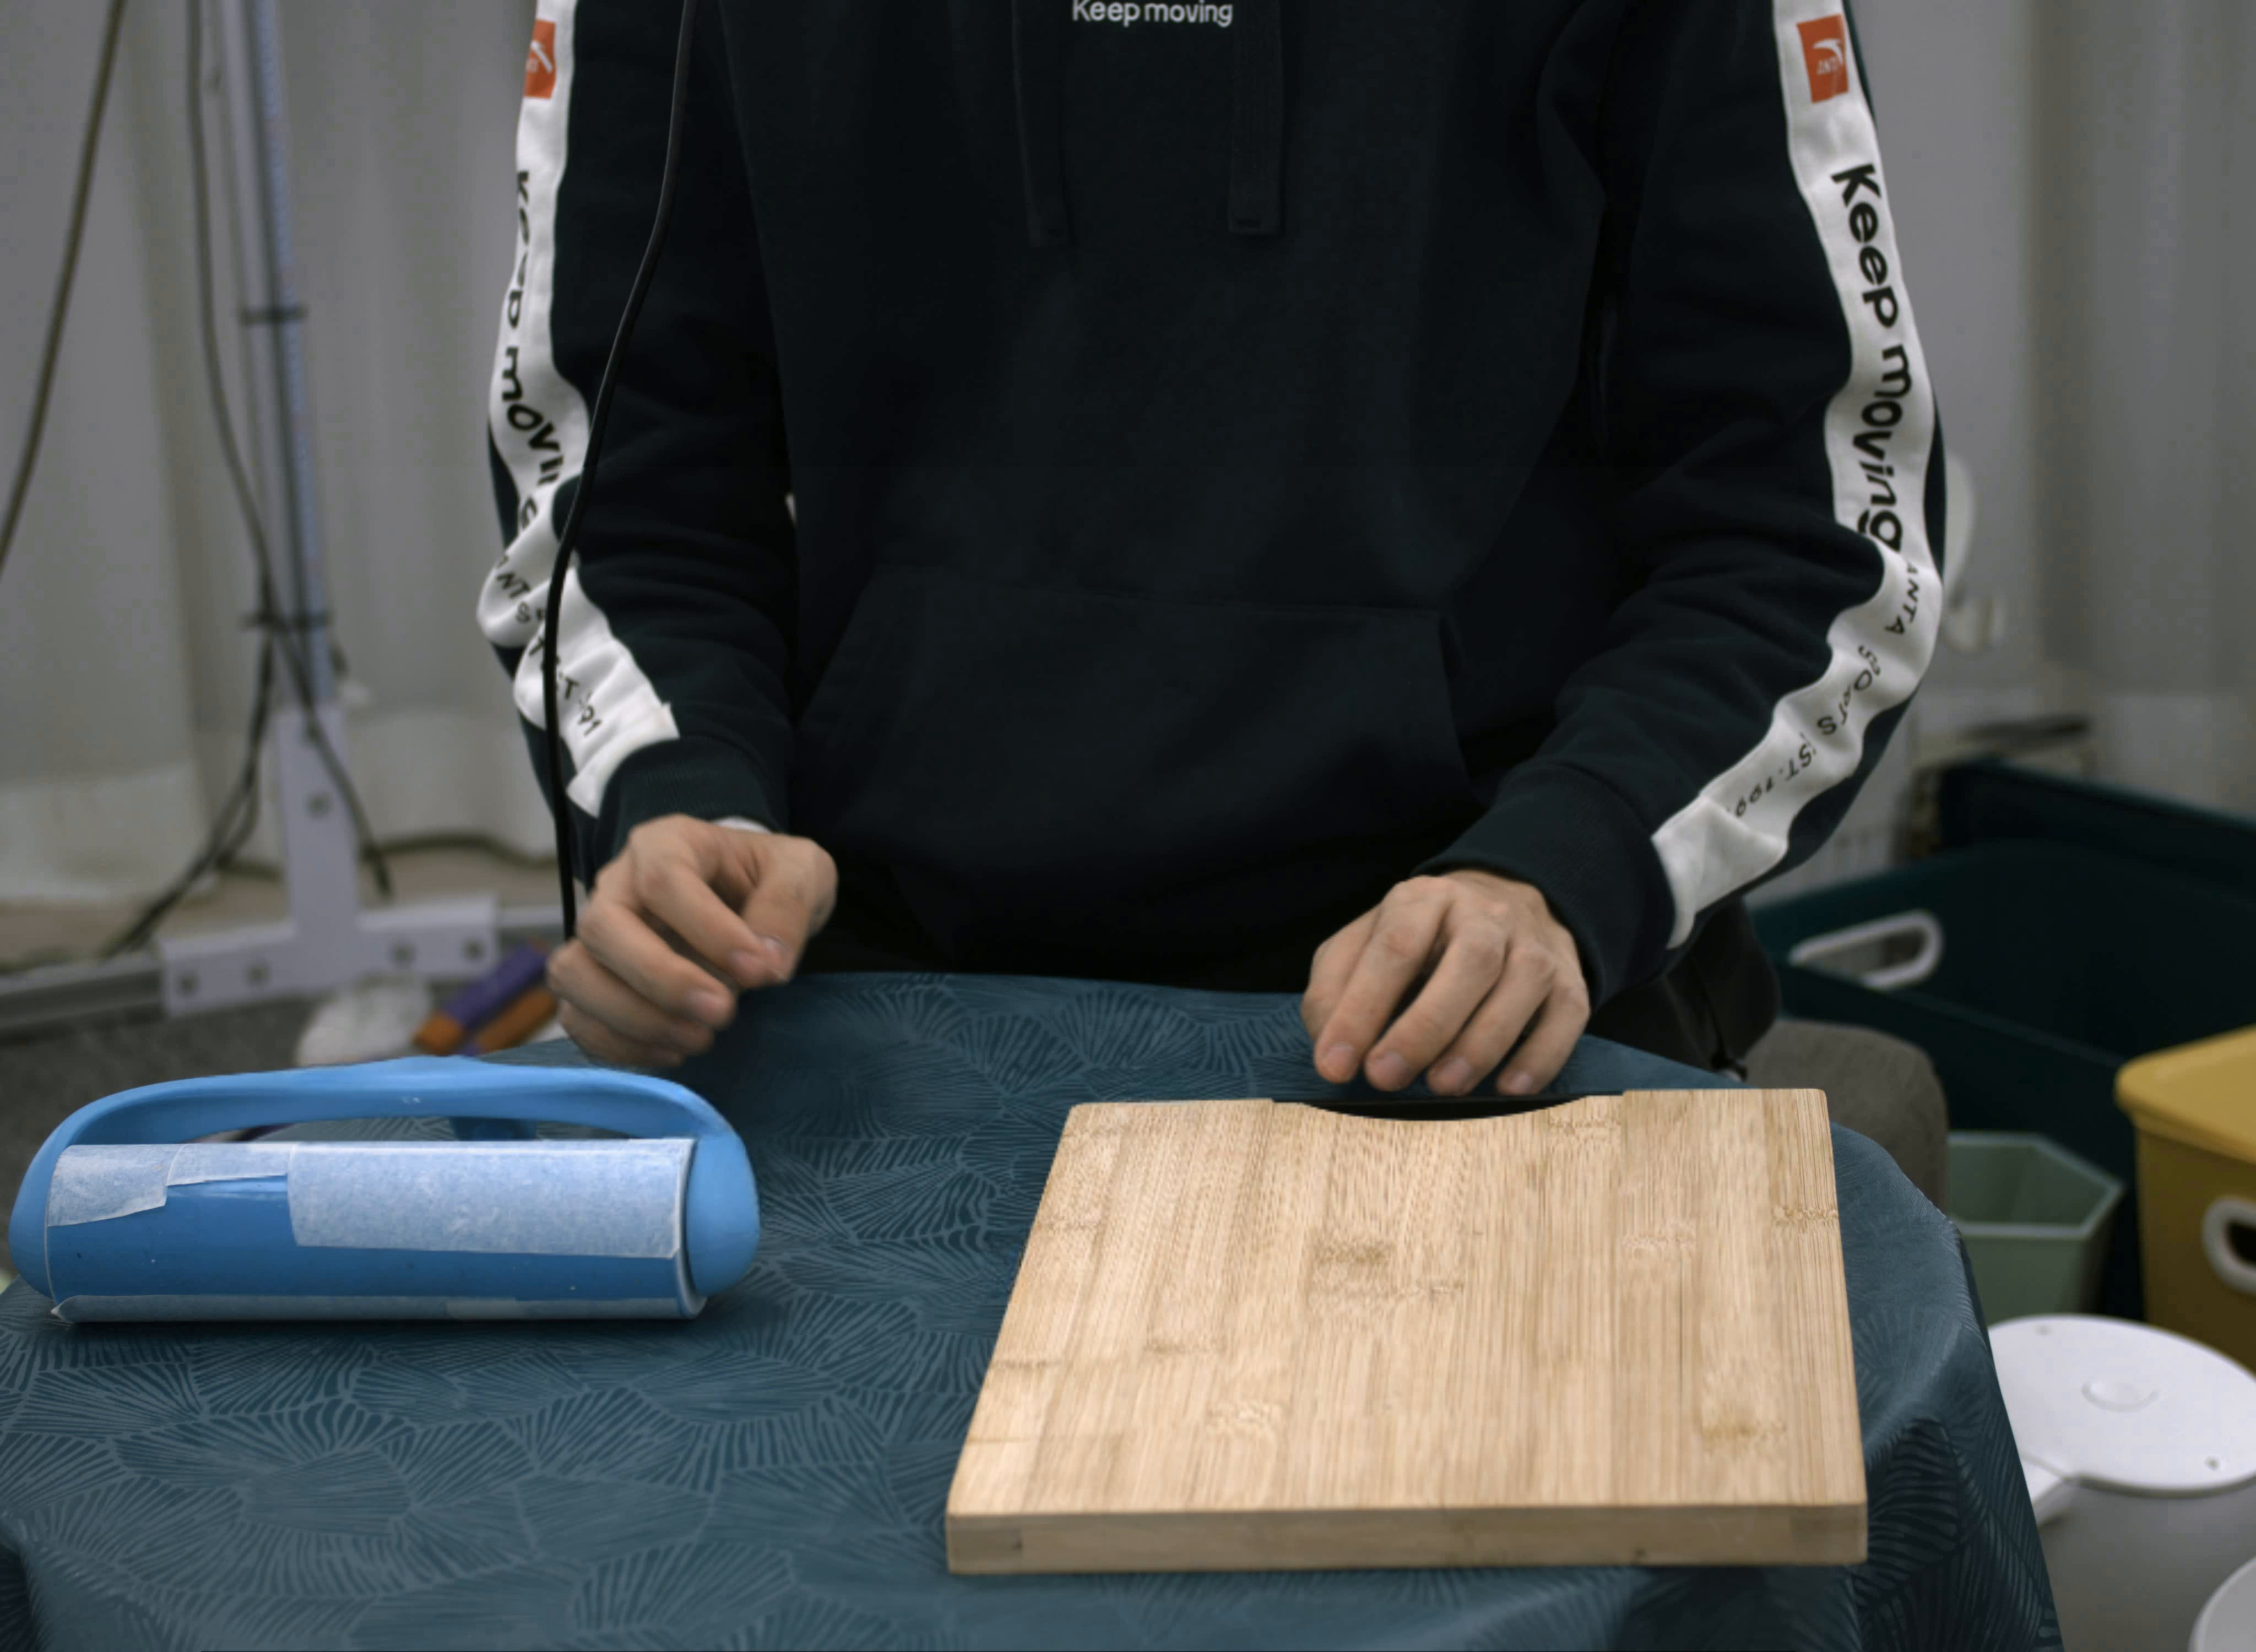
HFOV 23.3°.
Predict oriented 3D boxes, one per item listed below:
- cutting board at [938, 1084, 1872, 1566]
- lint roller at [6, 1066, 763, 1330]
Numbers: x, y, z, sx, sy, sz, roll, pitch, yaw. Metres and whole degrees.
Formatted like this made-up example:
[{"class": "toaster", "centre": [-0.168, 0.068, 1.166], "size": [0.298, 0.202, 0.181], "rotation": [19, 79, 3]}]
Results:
[{"class": "cutting board", "centre": [0.087, 0.139, 1.575], "size": [0.250, 0.023, 0.351], "rotation": [-2, 15, 5]}, {"class": "lint roller", "centre": [-0.218, 0.105, 1.686], "size": [0.228, 0.067, 0.181], "rotation": [-3, 16, 5]}]
